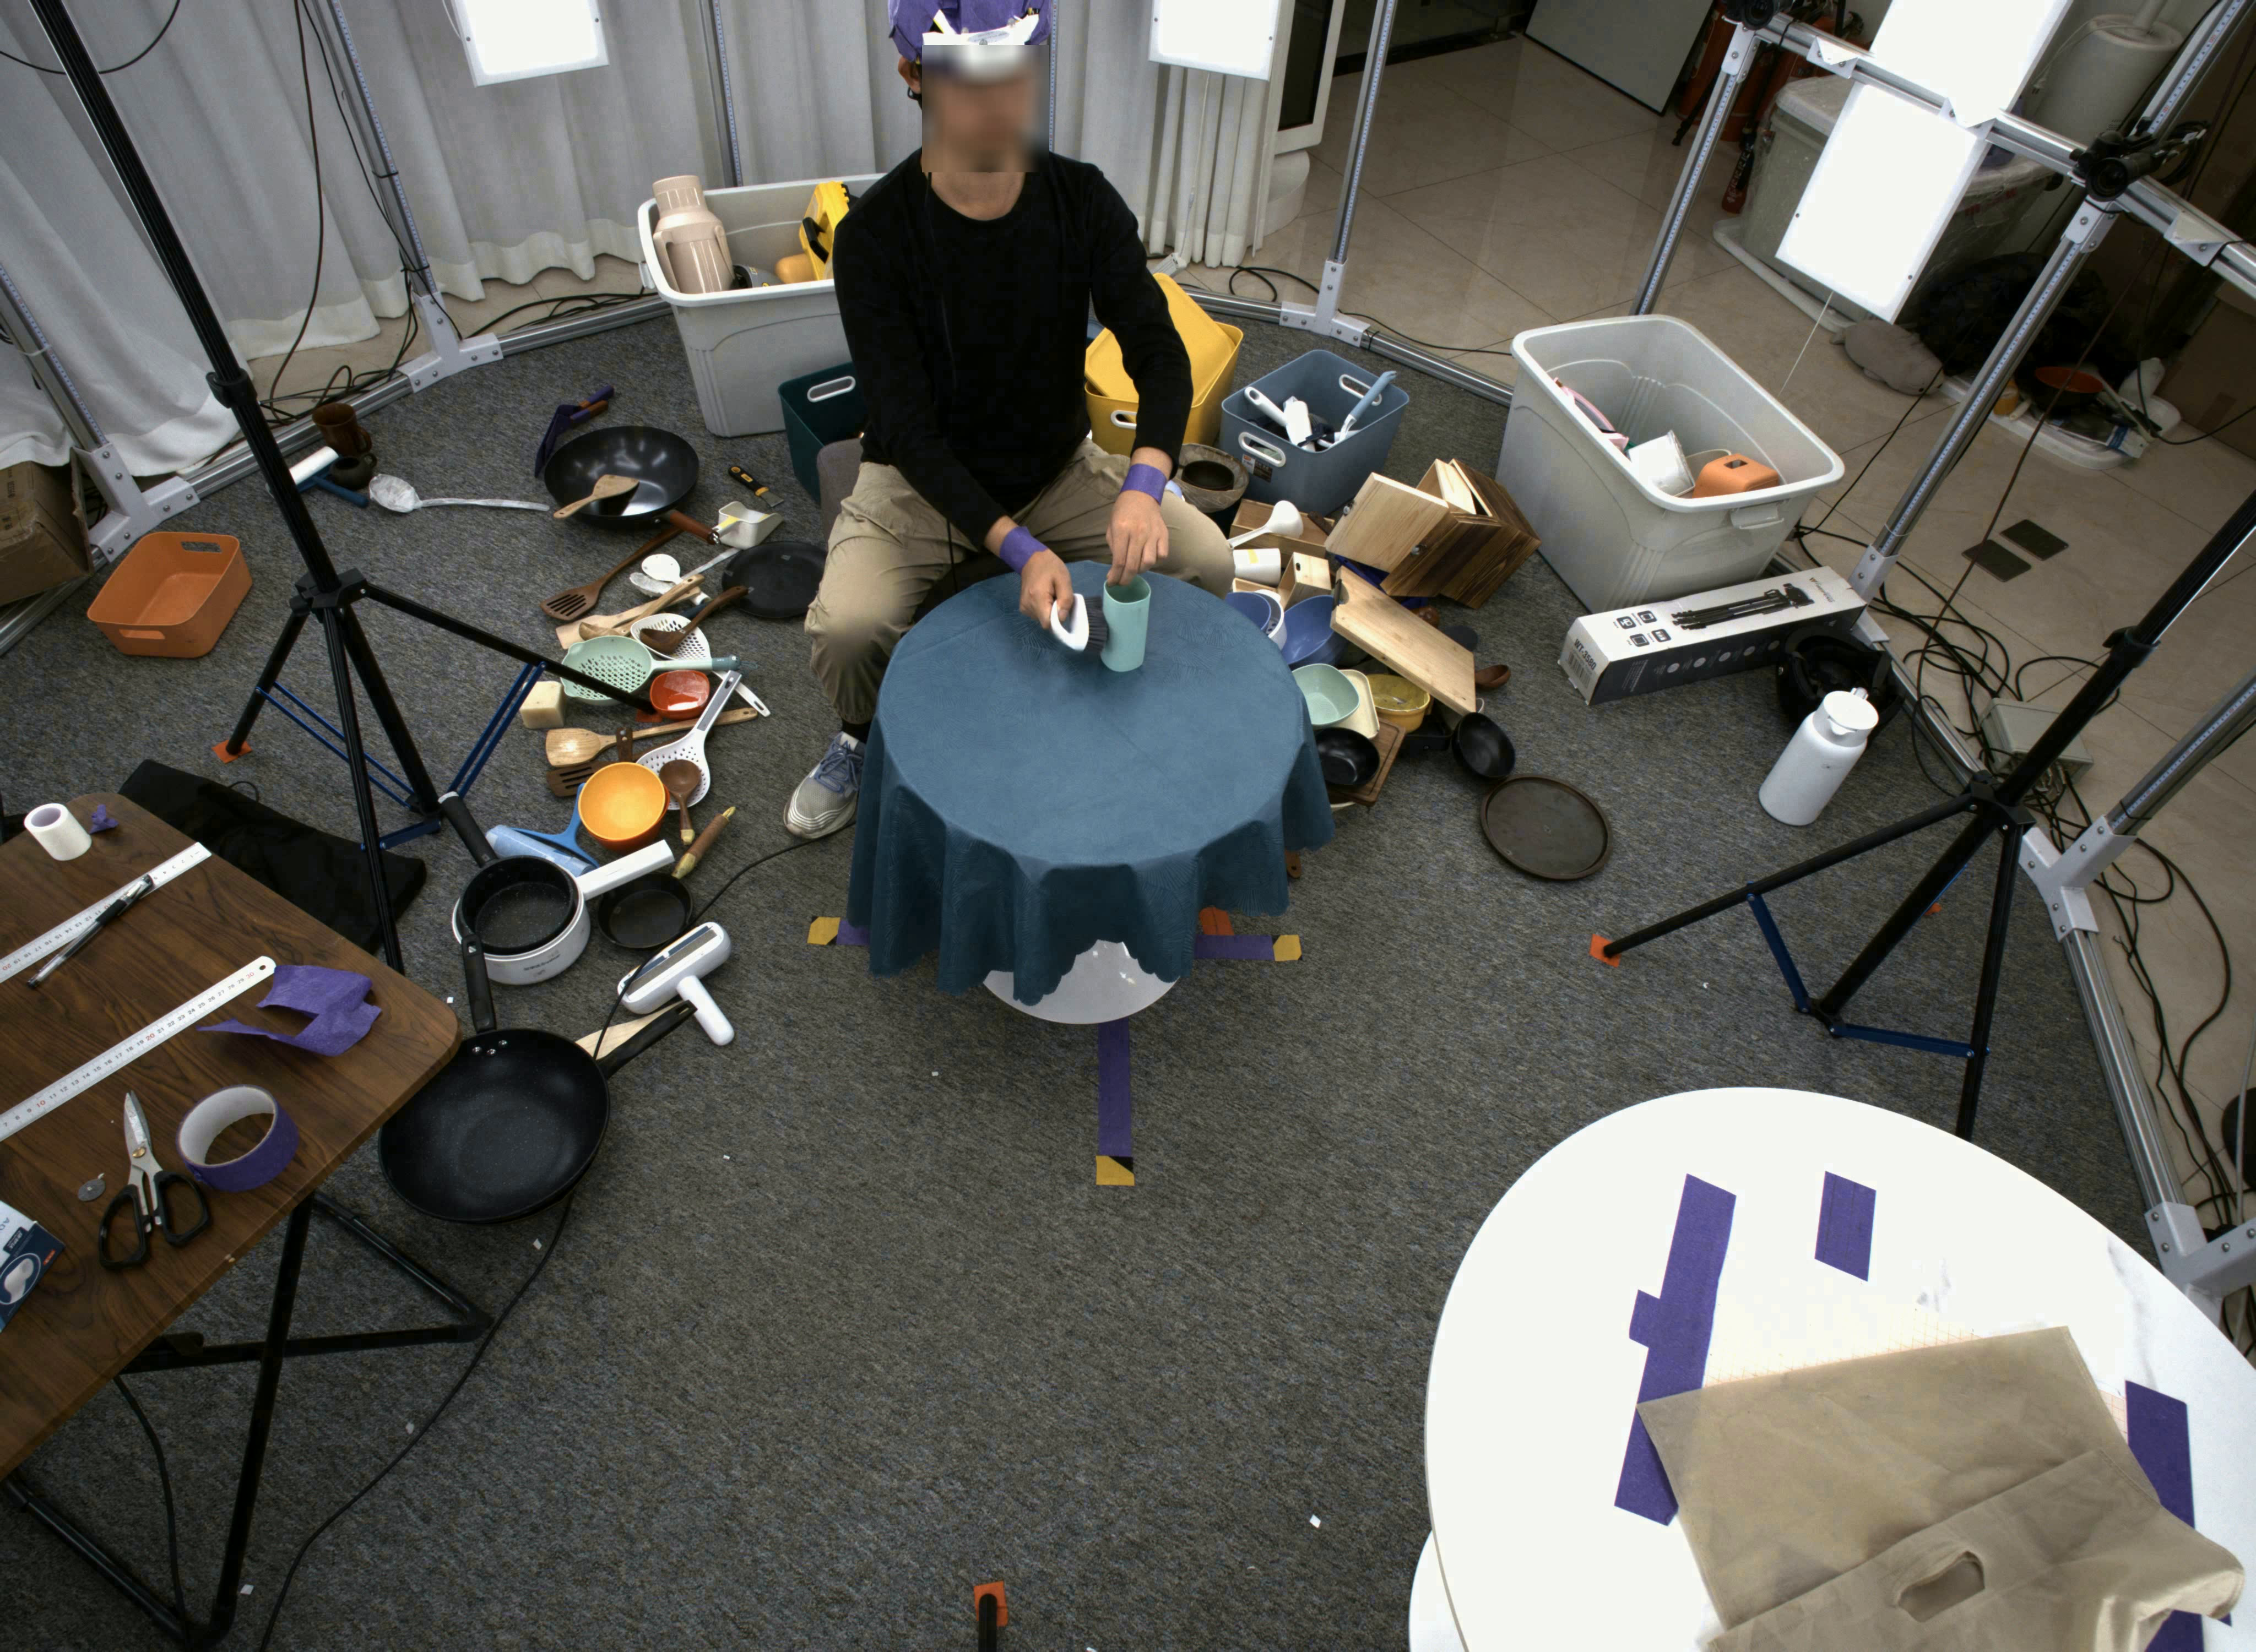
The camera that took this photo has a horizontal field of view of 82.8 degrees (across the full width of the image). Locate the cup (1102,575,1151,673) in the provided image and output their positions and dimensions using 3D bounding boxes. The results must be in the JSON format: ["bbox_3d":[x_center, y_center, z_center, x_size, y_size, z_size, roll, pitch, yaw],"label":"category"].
[{"bbox_3d":[-0.004,-0.287,1.836,0.066,0.129,0.068,2,50,-3],"label":"cup"}]

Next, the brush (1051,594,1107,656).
[{"bbox_3d":[-0.073,-0.288,1.823,0.072,0.049,0.101,5,50,-16],"label":"brush"}]
